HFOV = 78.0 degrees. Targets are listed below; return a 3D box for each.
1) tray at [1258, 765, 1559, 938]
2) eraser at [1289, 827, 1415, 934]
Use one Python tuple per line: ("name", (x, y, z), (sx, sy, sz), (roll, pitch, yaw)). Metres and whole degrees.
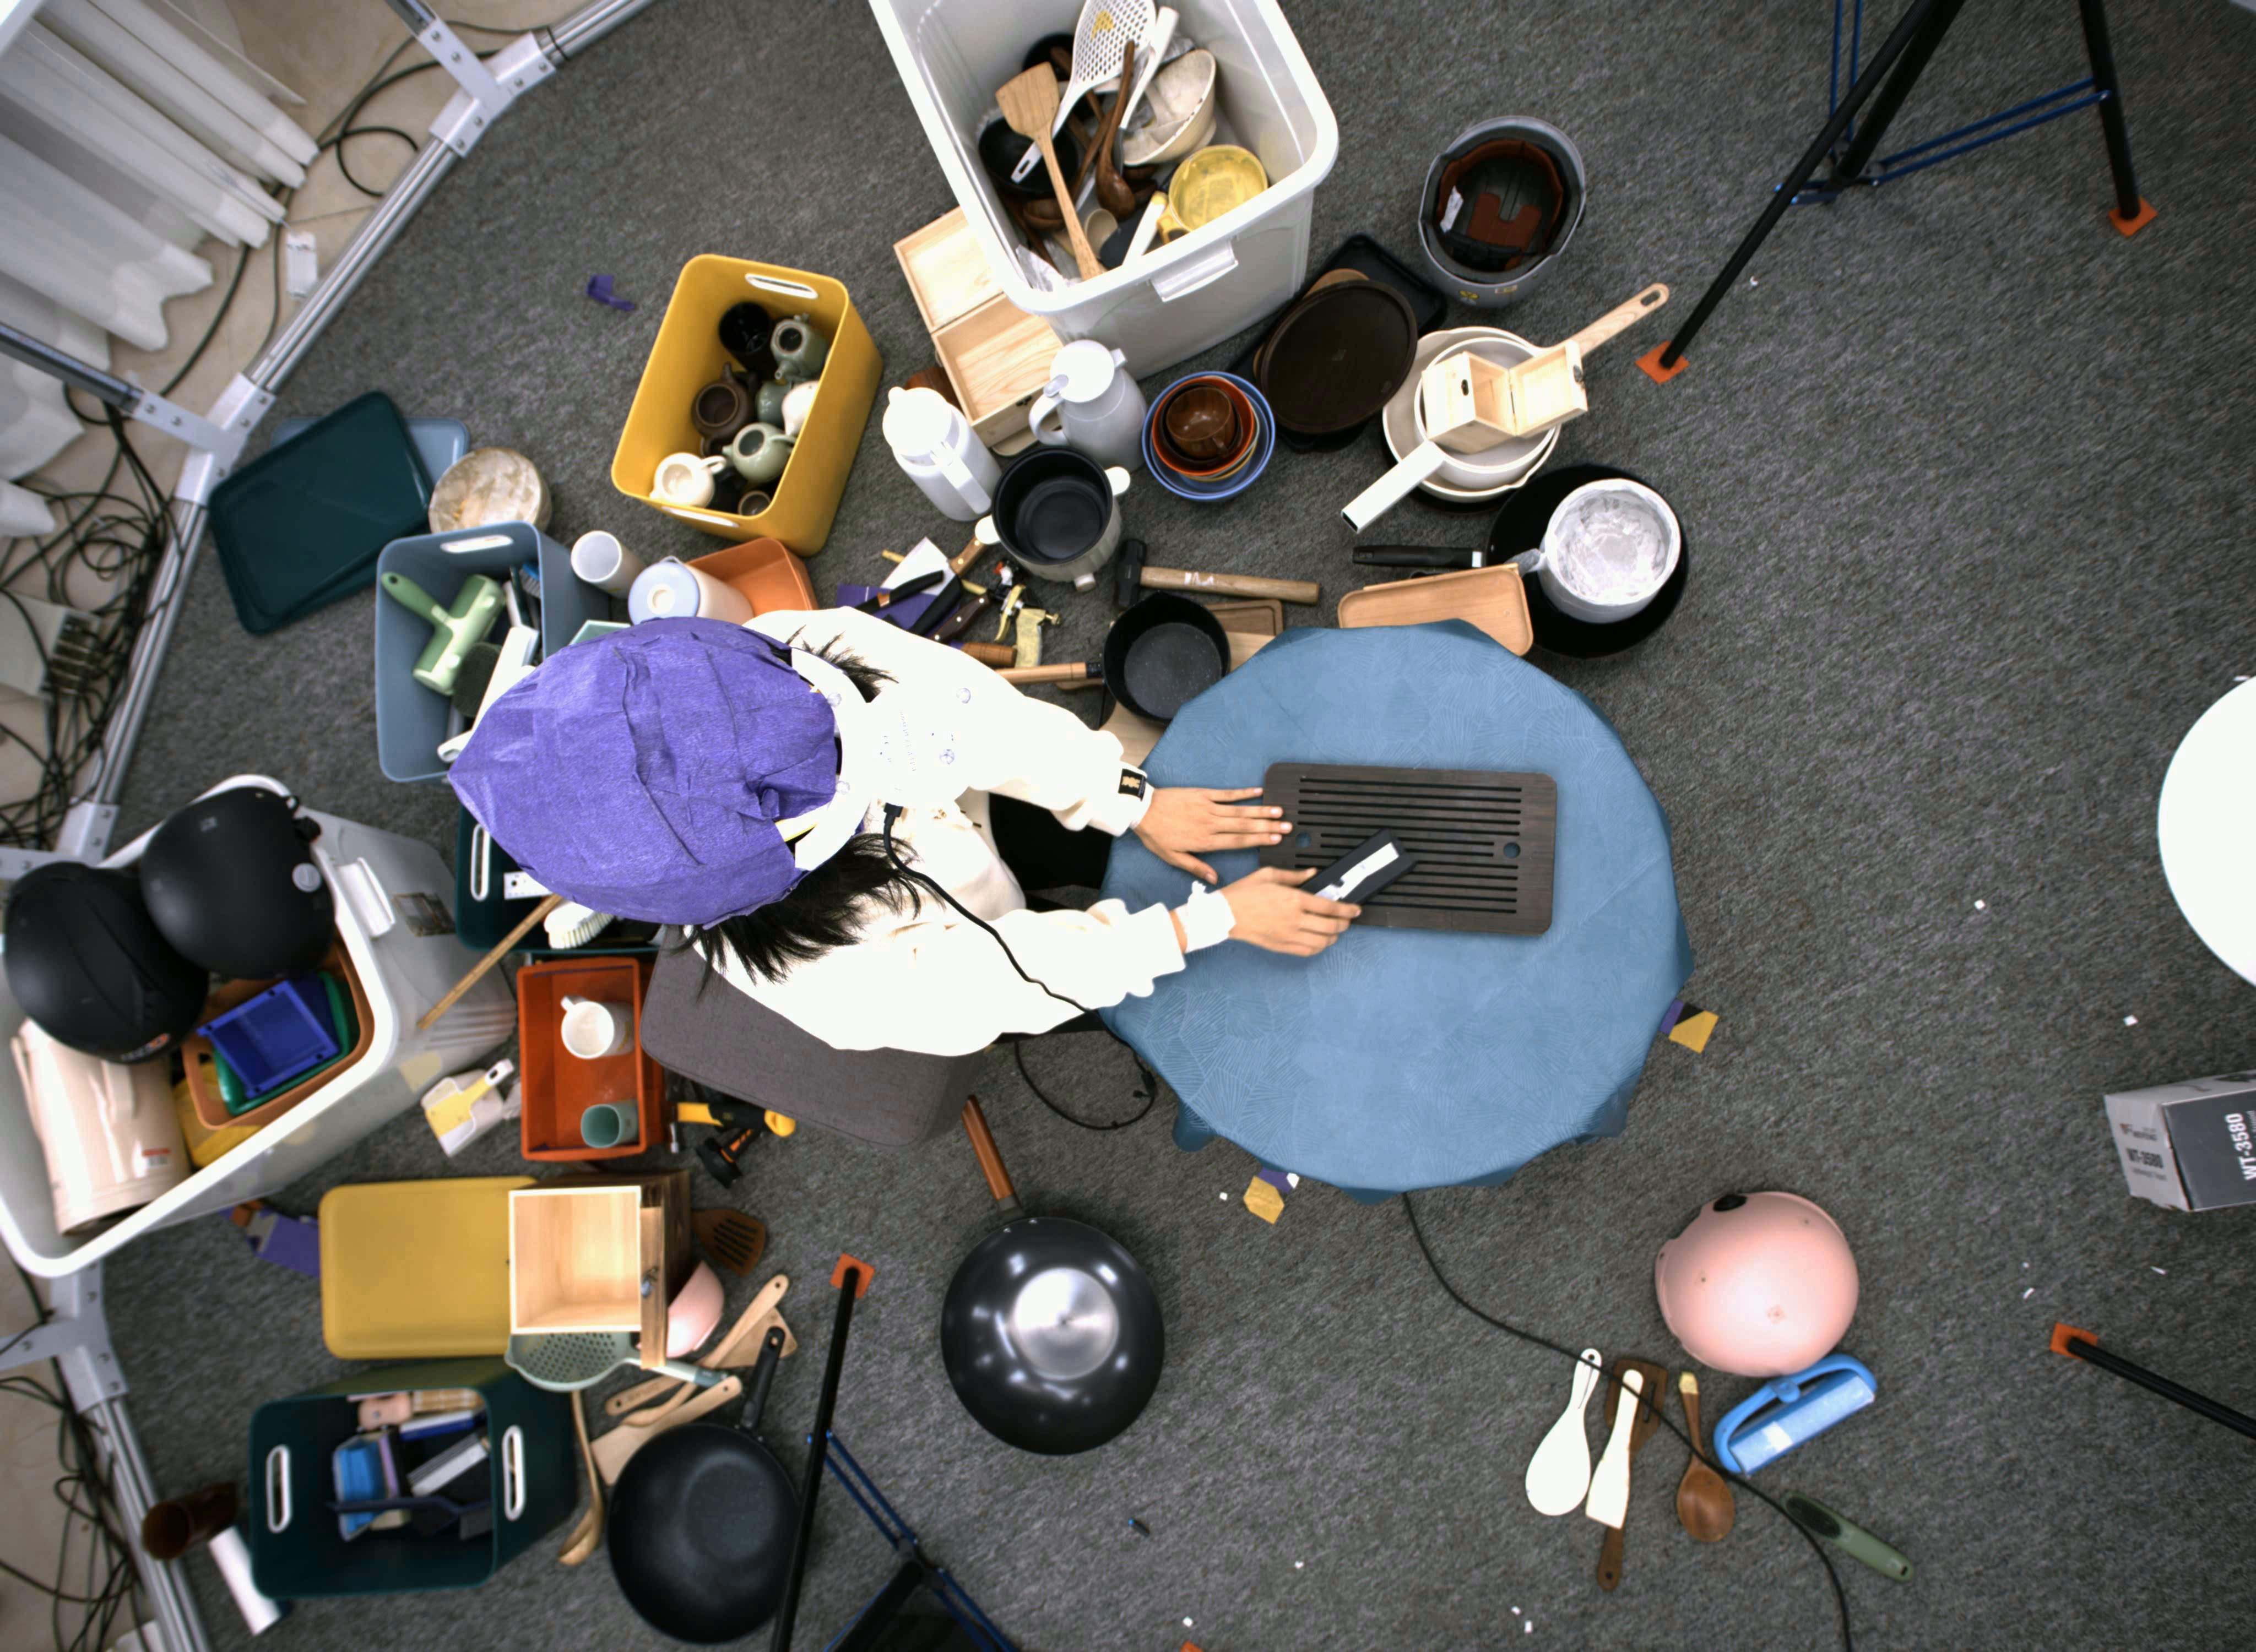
("tray", (0.293, 0.024, 1.449), (0.307, 0.018, 0.169), (3, 87, 11))
("eraser", (0.233, 0.056, 1.438), (0.126, 0.030, 0.053), (-36, 77, 8))
